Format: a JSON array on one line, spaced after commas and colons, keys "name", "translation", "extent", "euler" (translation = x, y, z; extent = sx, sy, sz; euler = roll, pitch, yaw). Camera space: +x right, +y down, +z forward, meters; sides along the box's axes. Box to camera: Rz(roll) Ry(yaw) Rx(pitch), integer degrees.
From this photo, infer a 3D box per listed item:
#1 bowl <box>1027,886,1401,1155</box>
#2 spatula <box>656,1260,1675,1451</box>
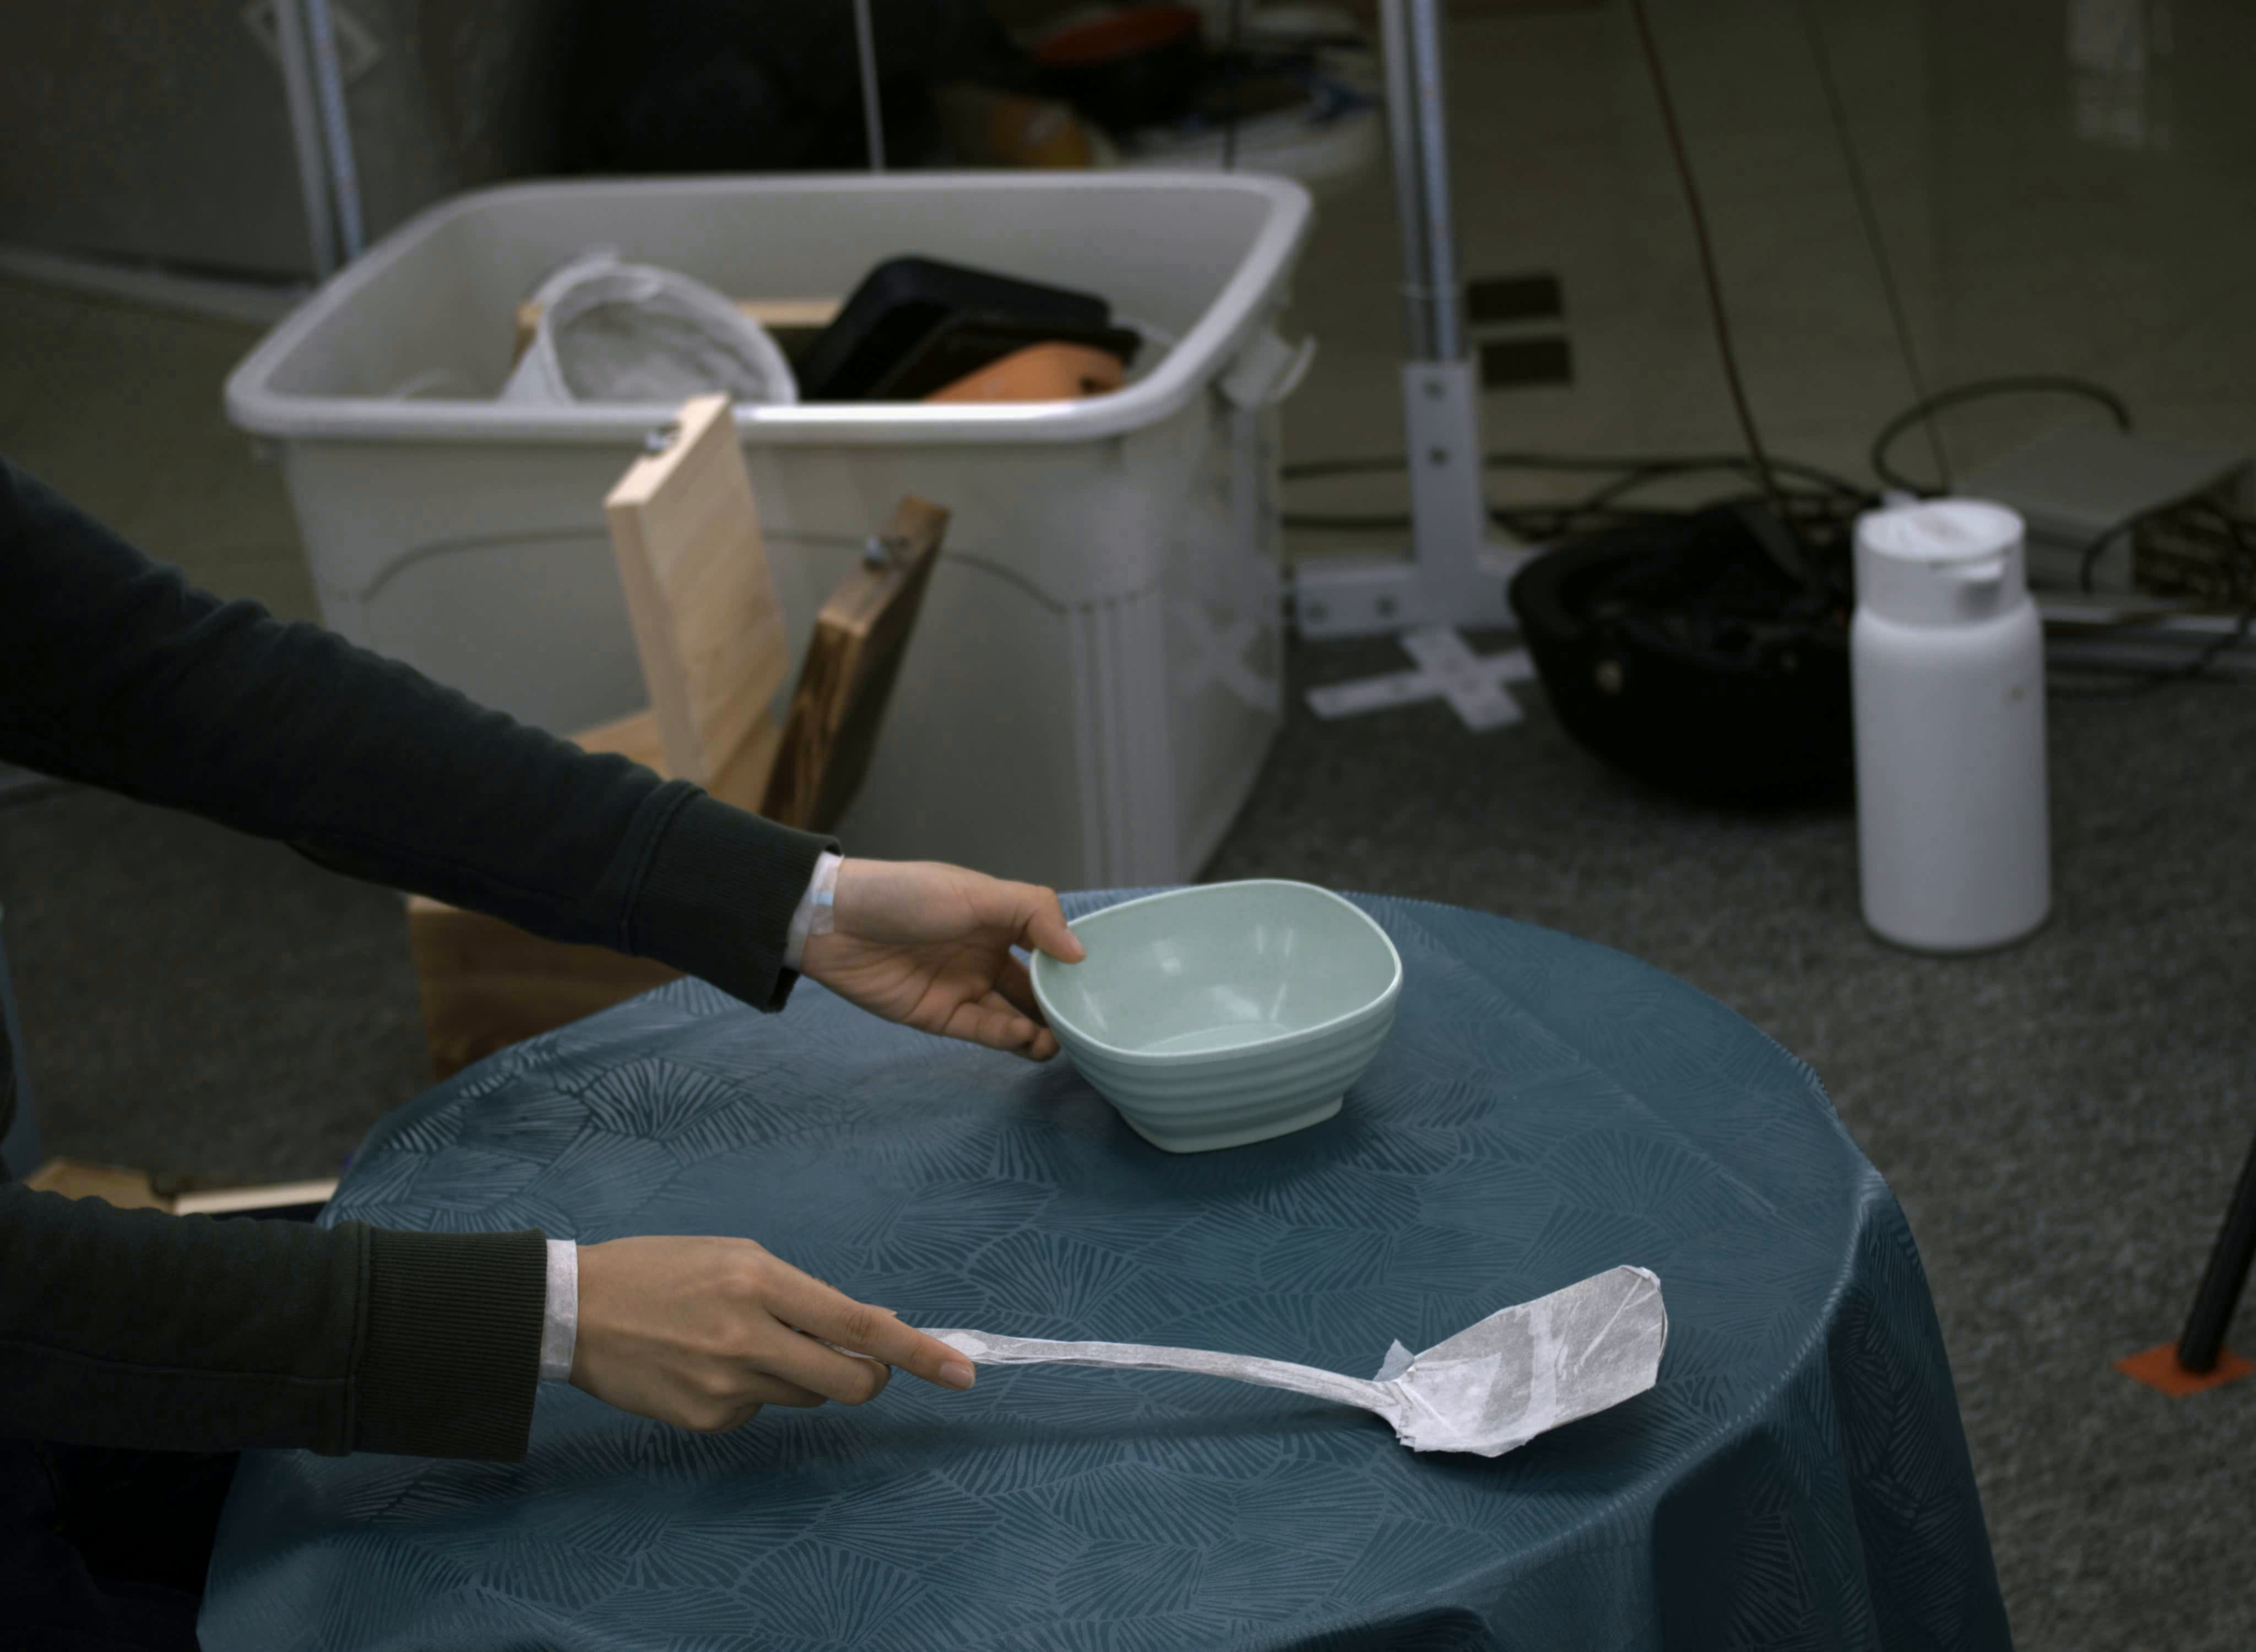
[{"name": "bowl", "translation": [0.034, 0.081, 2.200], "extent": [0.151, 0.059, 0.149], "euler": [-2, 26, 1]}, {"name": "spatula", "translation": [0.008, 0.182, 1.992], "extent": [0.364, 0.045, 0.097], "euler": [3, 28, 8]}]
